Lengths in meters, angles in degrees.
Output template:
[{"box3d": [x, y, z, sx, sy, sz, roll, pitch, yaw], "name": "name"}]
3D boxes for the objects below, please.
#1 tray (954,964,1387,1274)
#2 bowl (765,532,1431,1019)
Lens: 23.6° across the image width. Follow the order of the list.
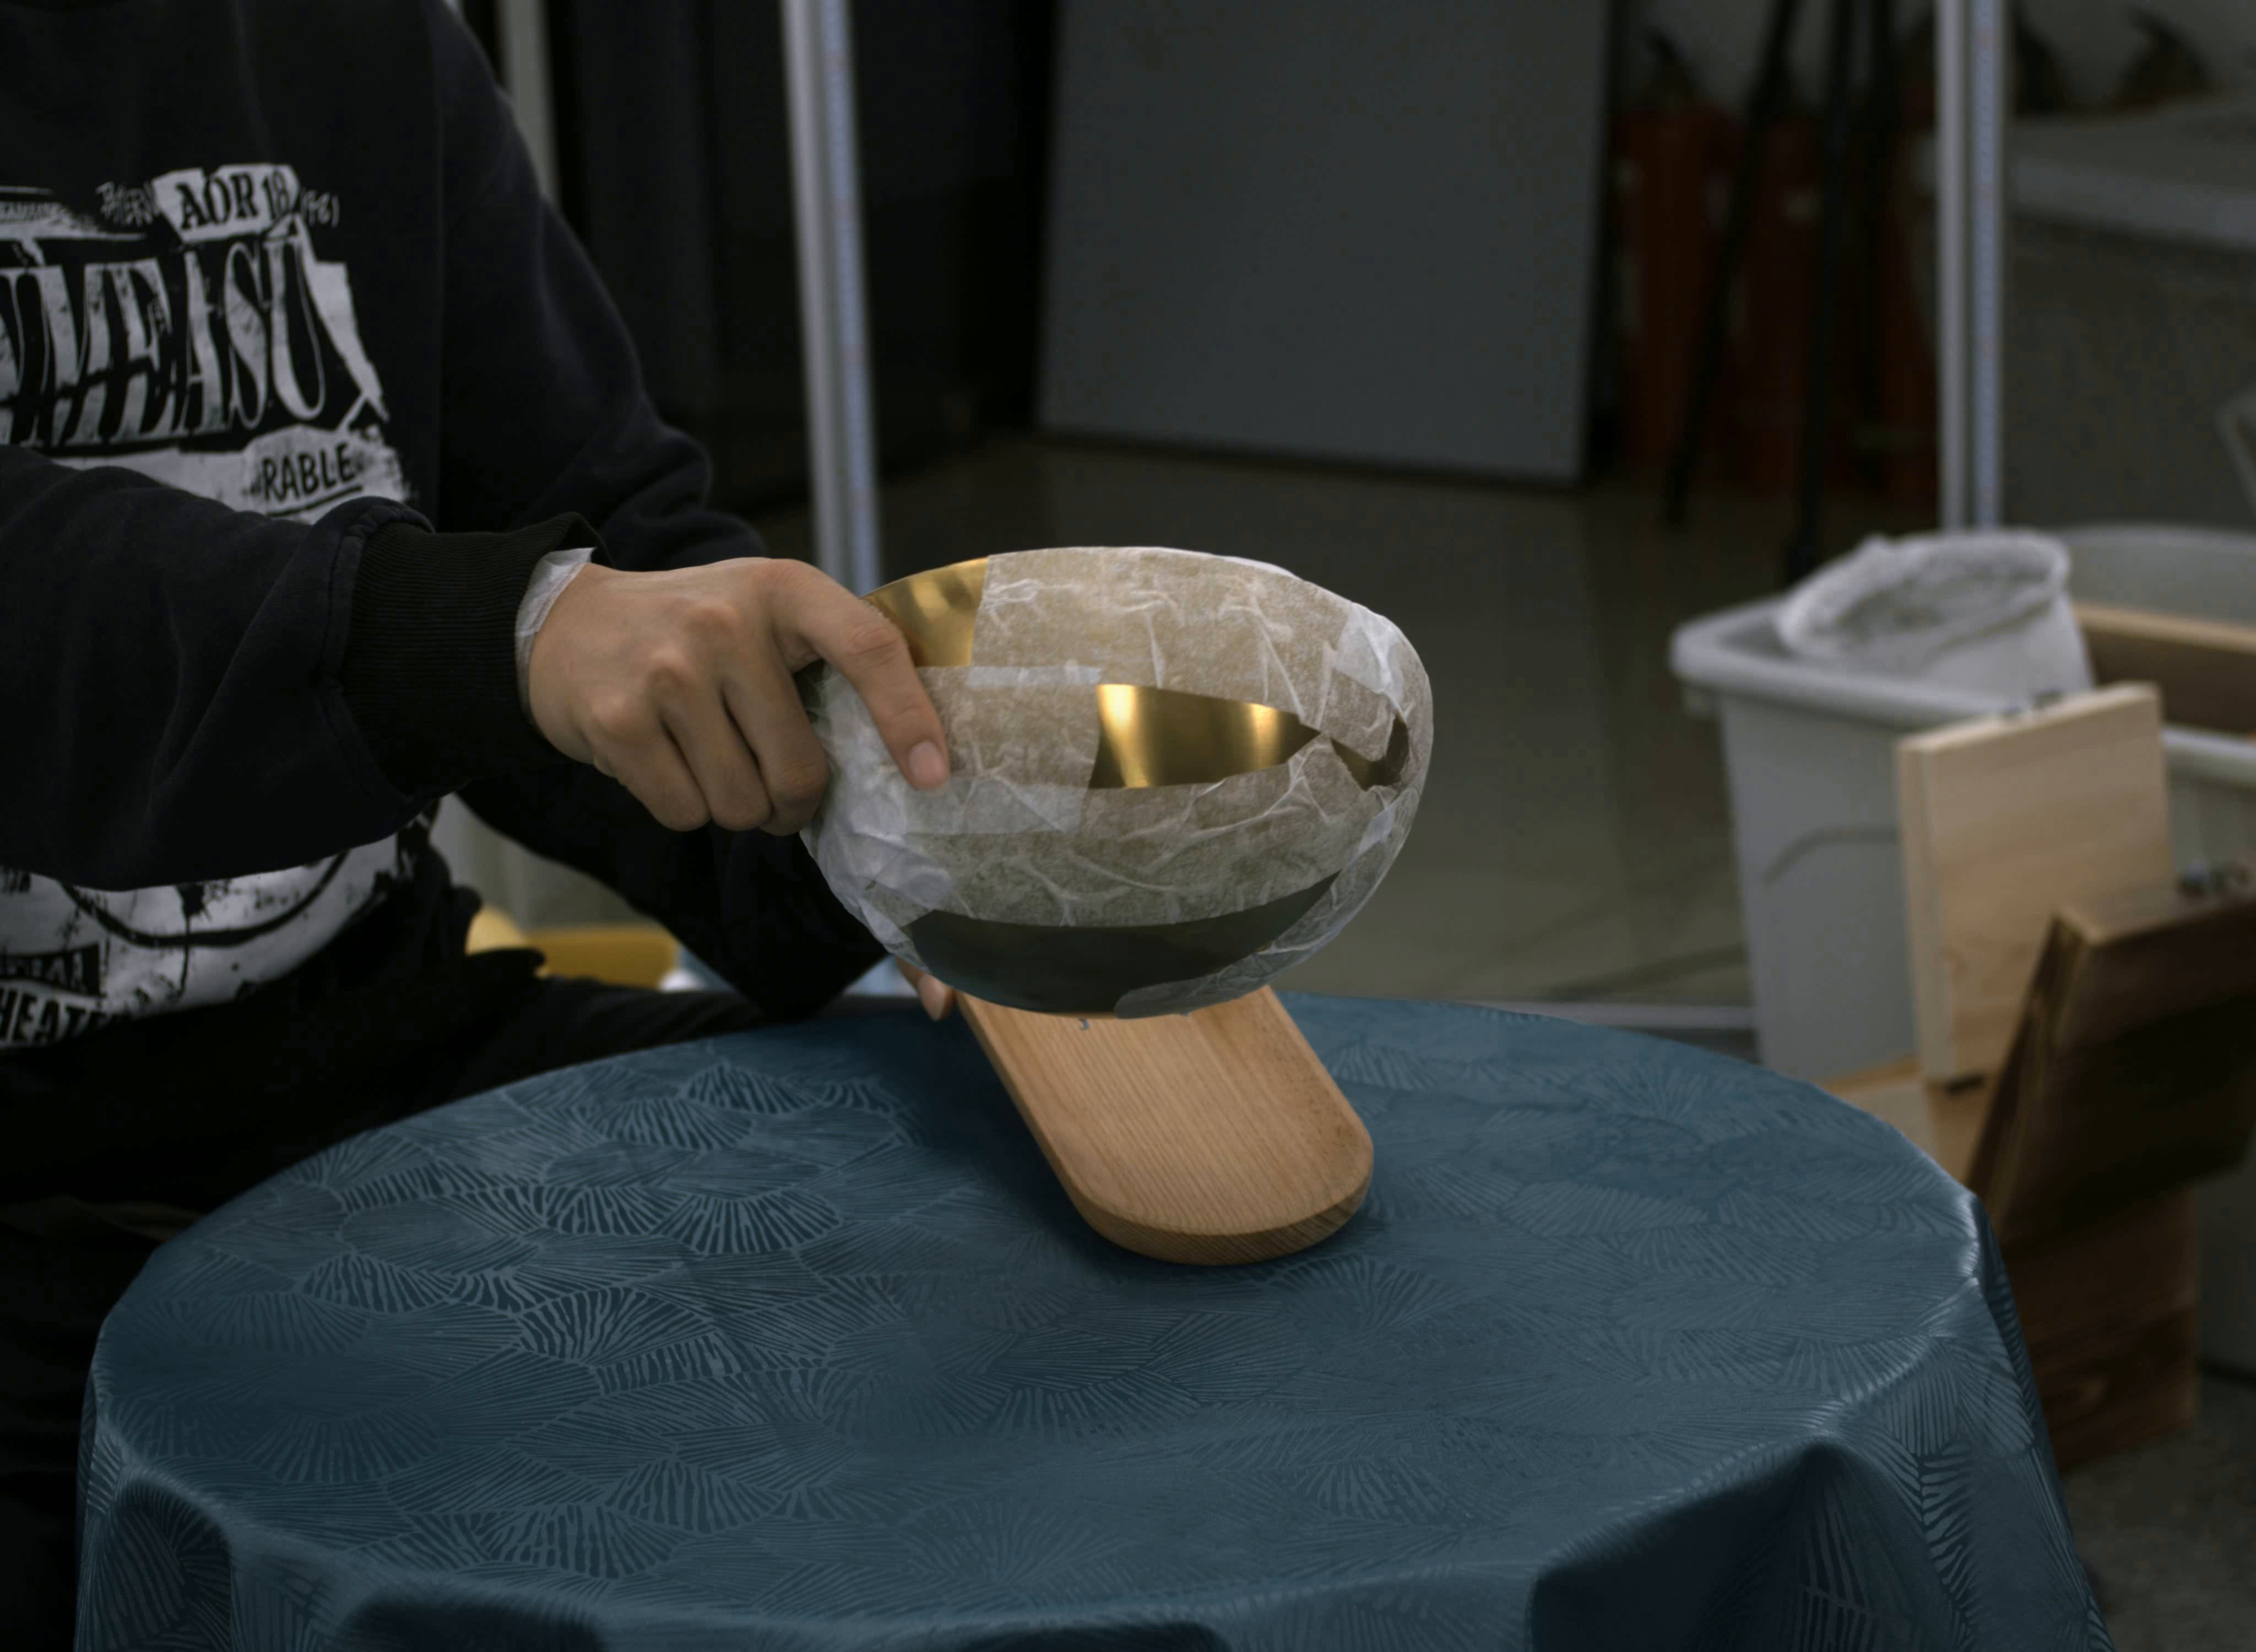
[{"box3d": [0.012, 0.082, 1.782, 0.100, 0.020, 0.233, -12, 31, -14], "name": "tray"}, {"box3d": [-0.008, 0.002, 1.614, 0.212, 0.096, 0.215, 0, -26, -1], "name": "bowl"}]
